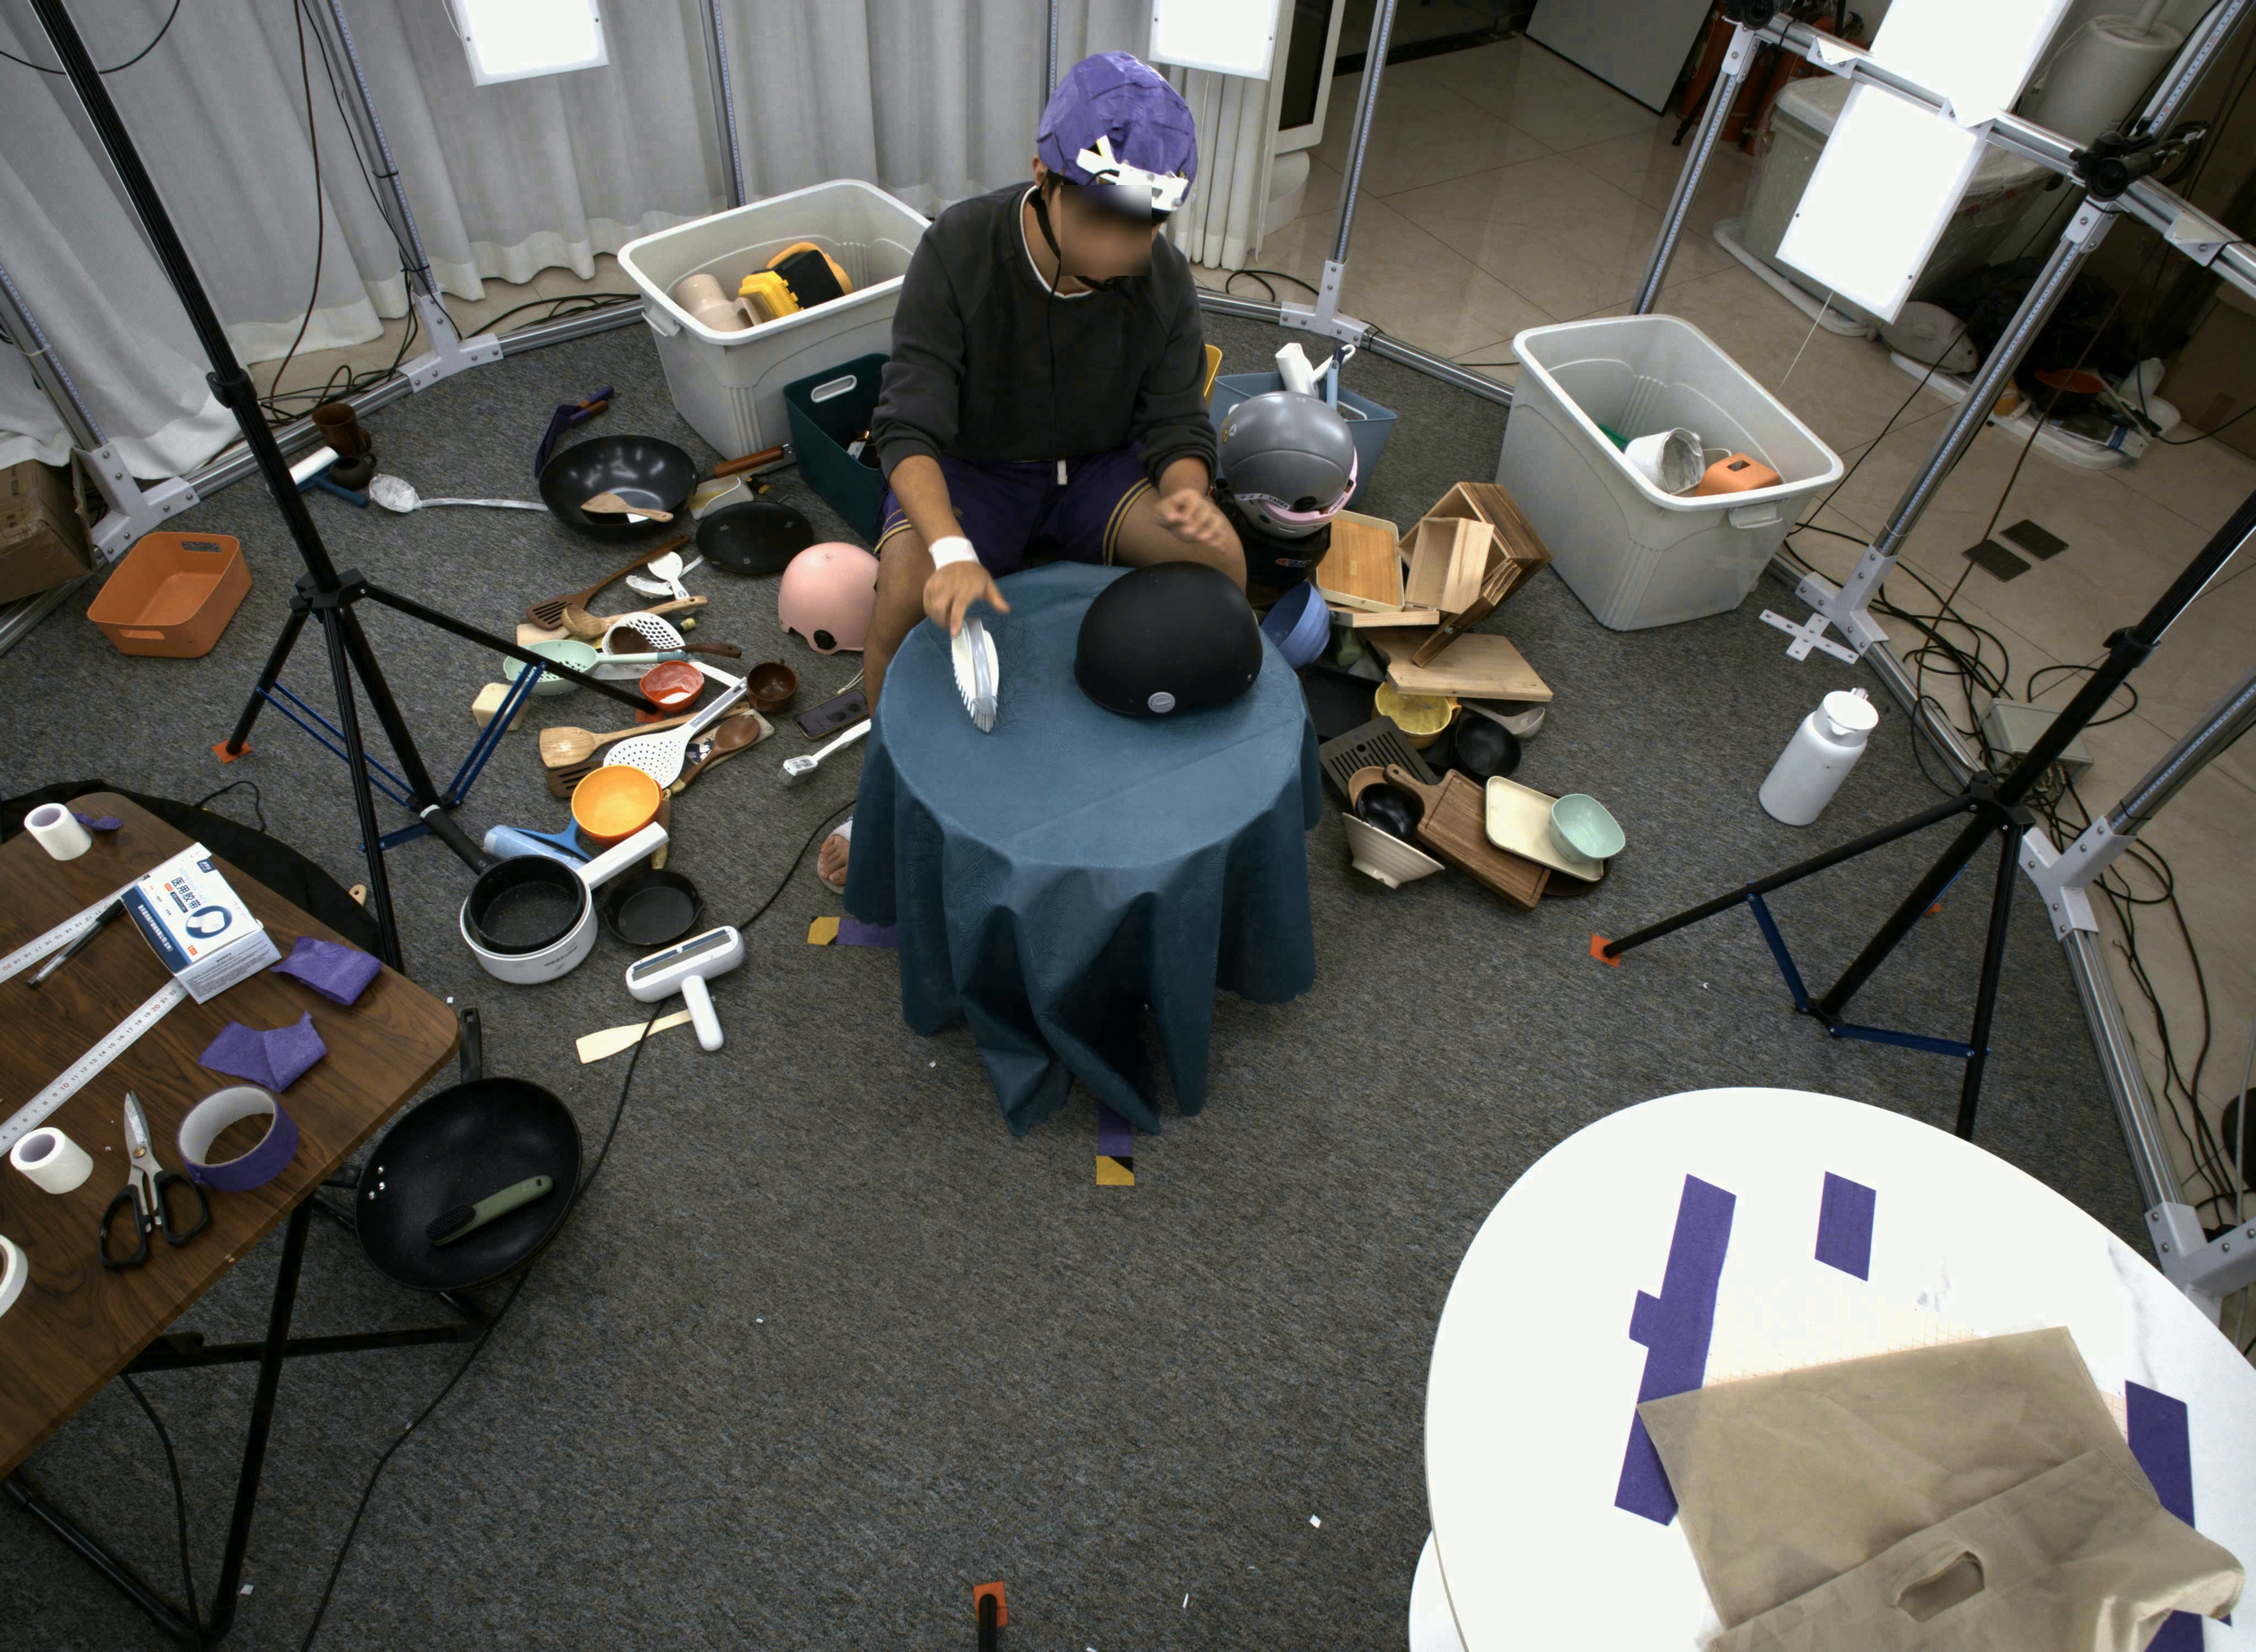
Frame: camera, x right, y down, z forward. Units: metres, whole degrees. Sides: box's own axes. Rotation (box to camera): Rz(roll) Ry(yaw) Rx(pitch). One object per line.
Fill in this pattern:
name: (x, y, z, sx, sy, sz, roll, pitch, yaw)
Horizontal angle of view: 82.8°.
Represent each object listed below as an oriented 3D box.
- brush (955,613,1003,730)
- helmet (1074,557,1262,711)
brush: (-0.205, -0.224, 1.789, 0.061, 0.092, 0.180, -8, 51, -7)
helmet: (0.058, -0.285, 1.815, 0.273, 0.163, 0.236, -9, 49, -9)
